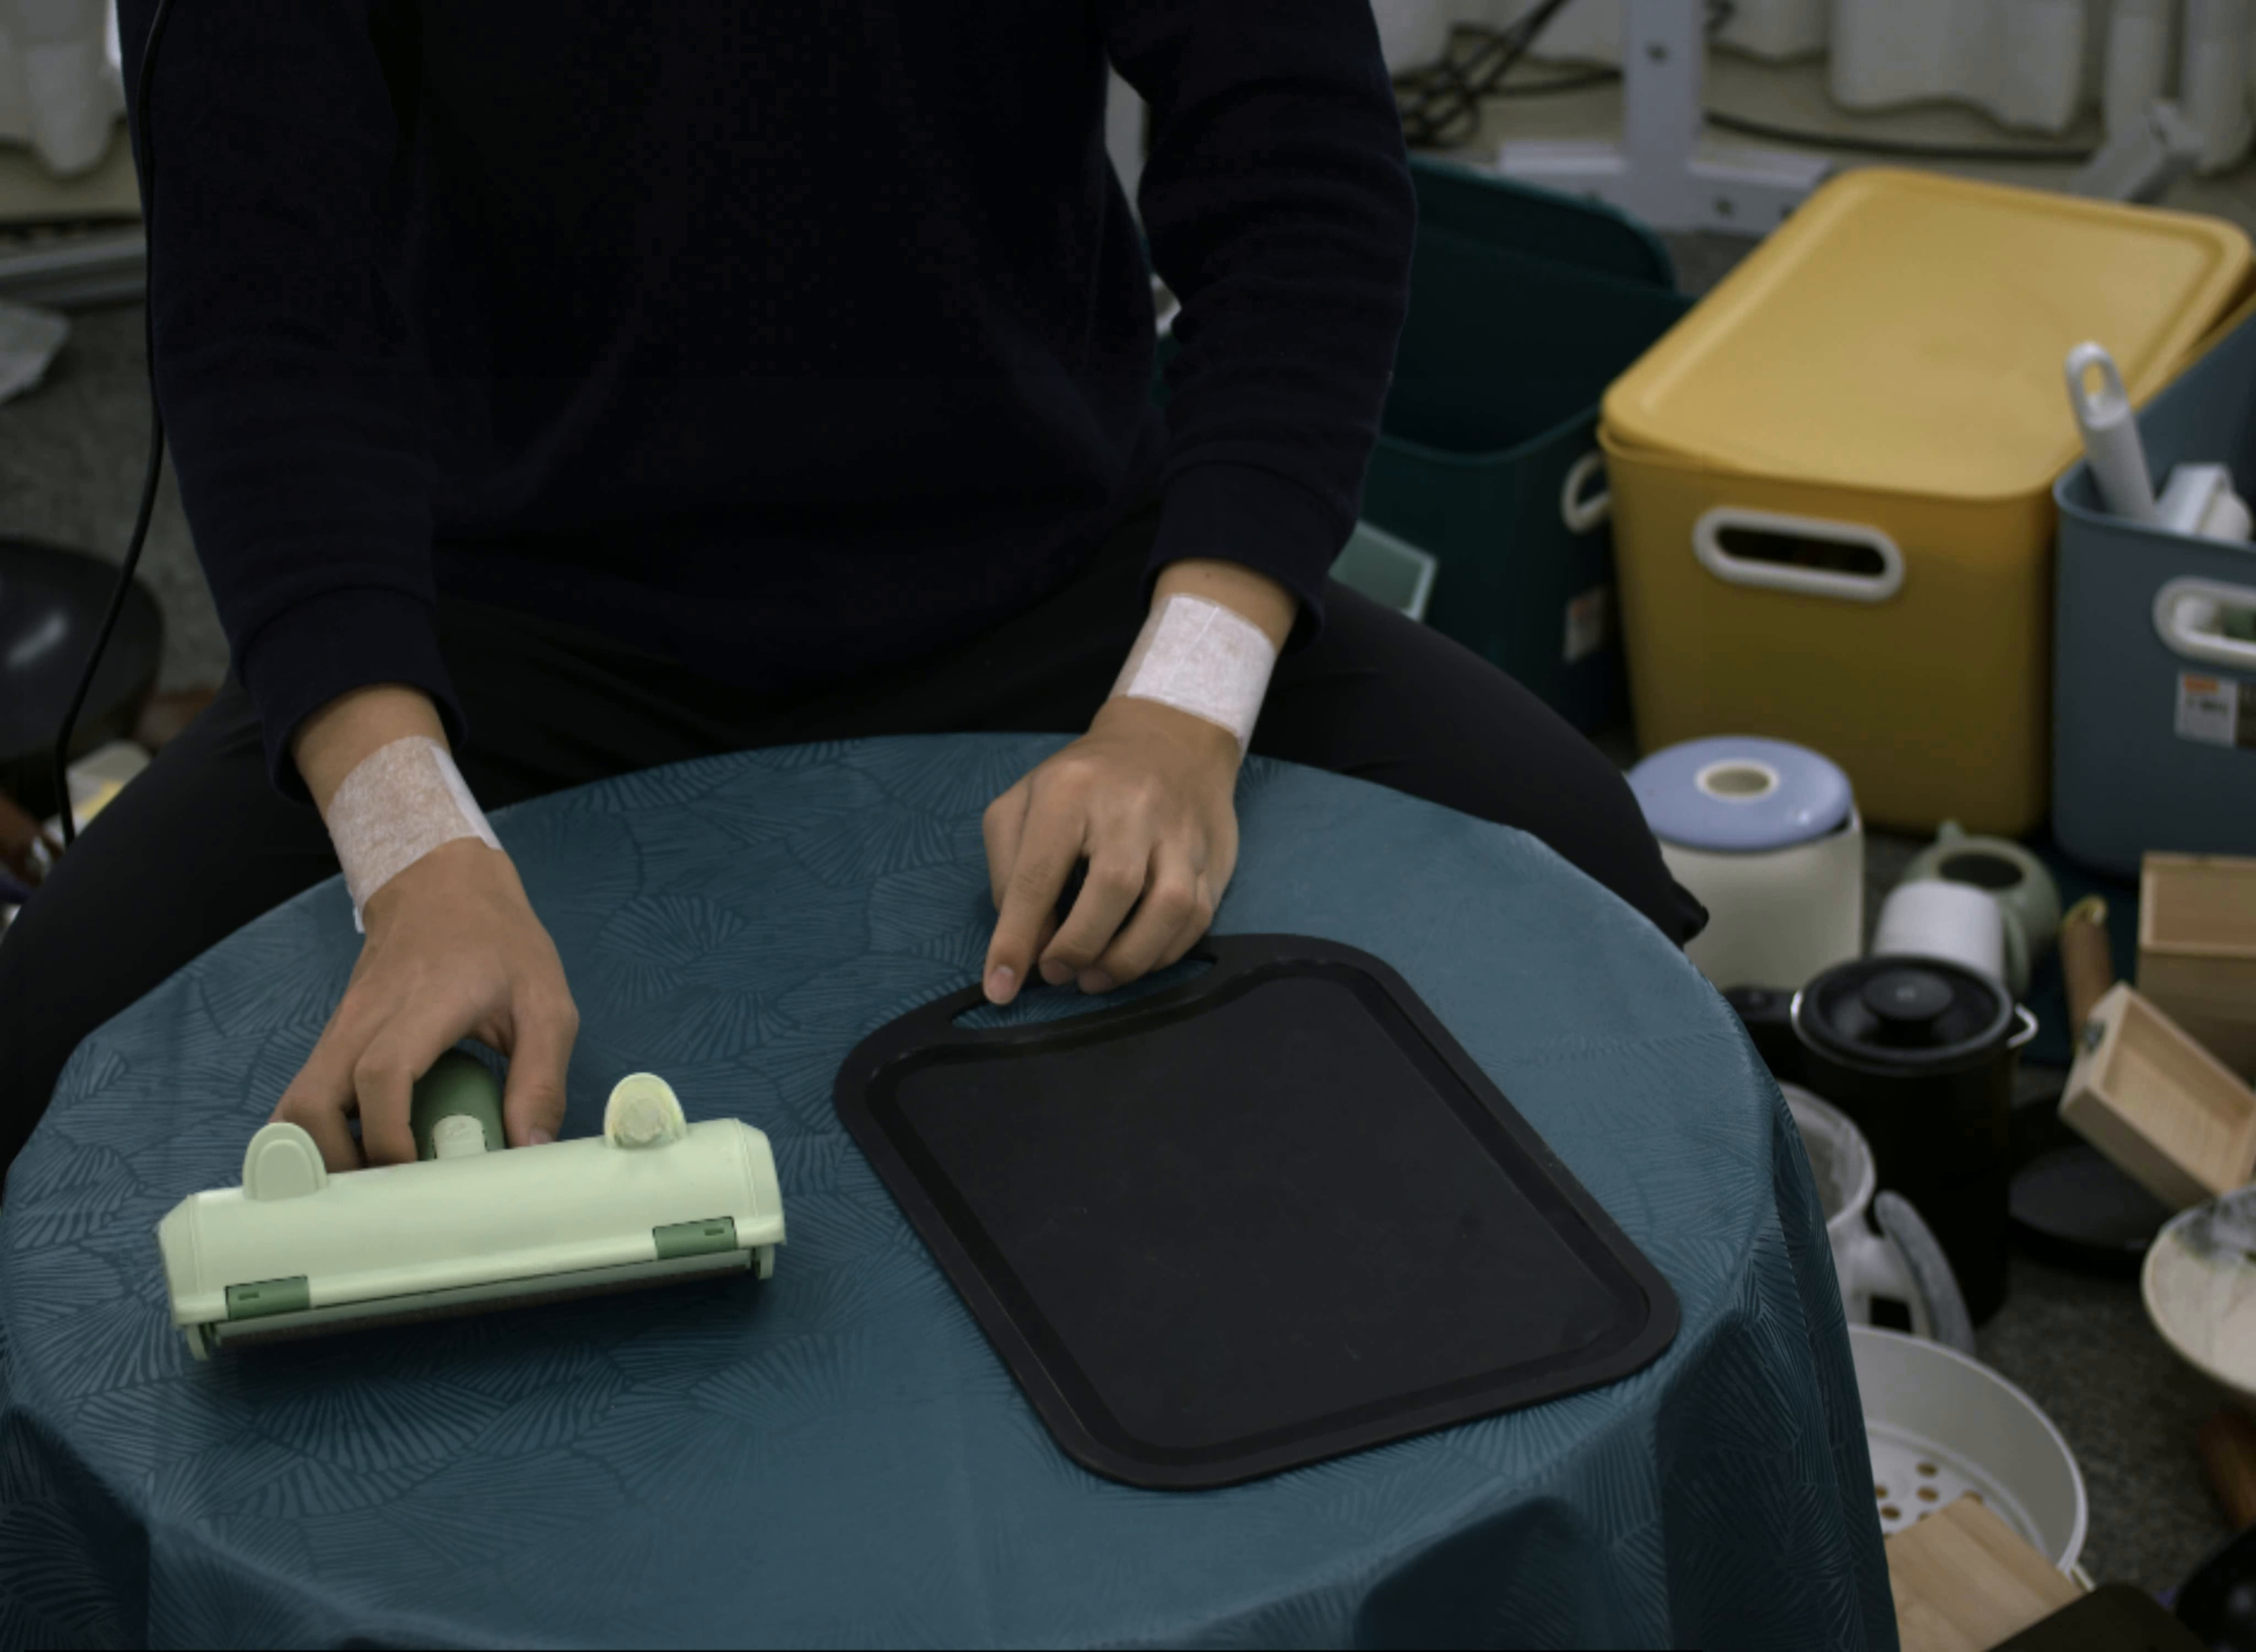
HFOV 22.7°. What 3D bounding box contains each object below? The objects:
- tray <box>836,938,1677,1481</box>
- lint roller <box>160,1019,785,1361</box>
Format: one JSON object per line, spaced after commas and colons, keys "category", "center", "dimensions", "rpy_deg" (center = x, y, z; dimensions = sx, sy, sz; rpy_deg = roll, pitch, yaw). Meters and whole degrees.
{"category": "tray", "center": [0.032, 0.117, 1.861], "dimensions": [0.211, 0.009, 0.328], "rpy_deg": [-12, 29, -17]}
{"category": "lint roller", "center": [-0.222, 0.096, 1.842], "dimensions": [0.198, 0.081, 0.186], "rpy_deg": [-7, 34, -11]}
